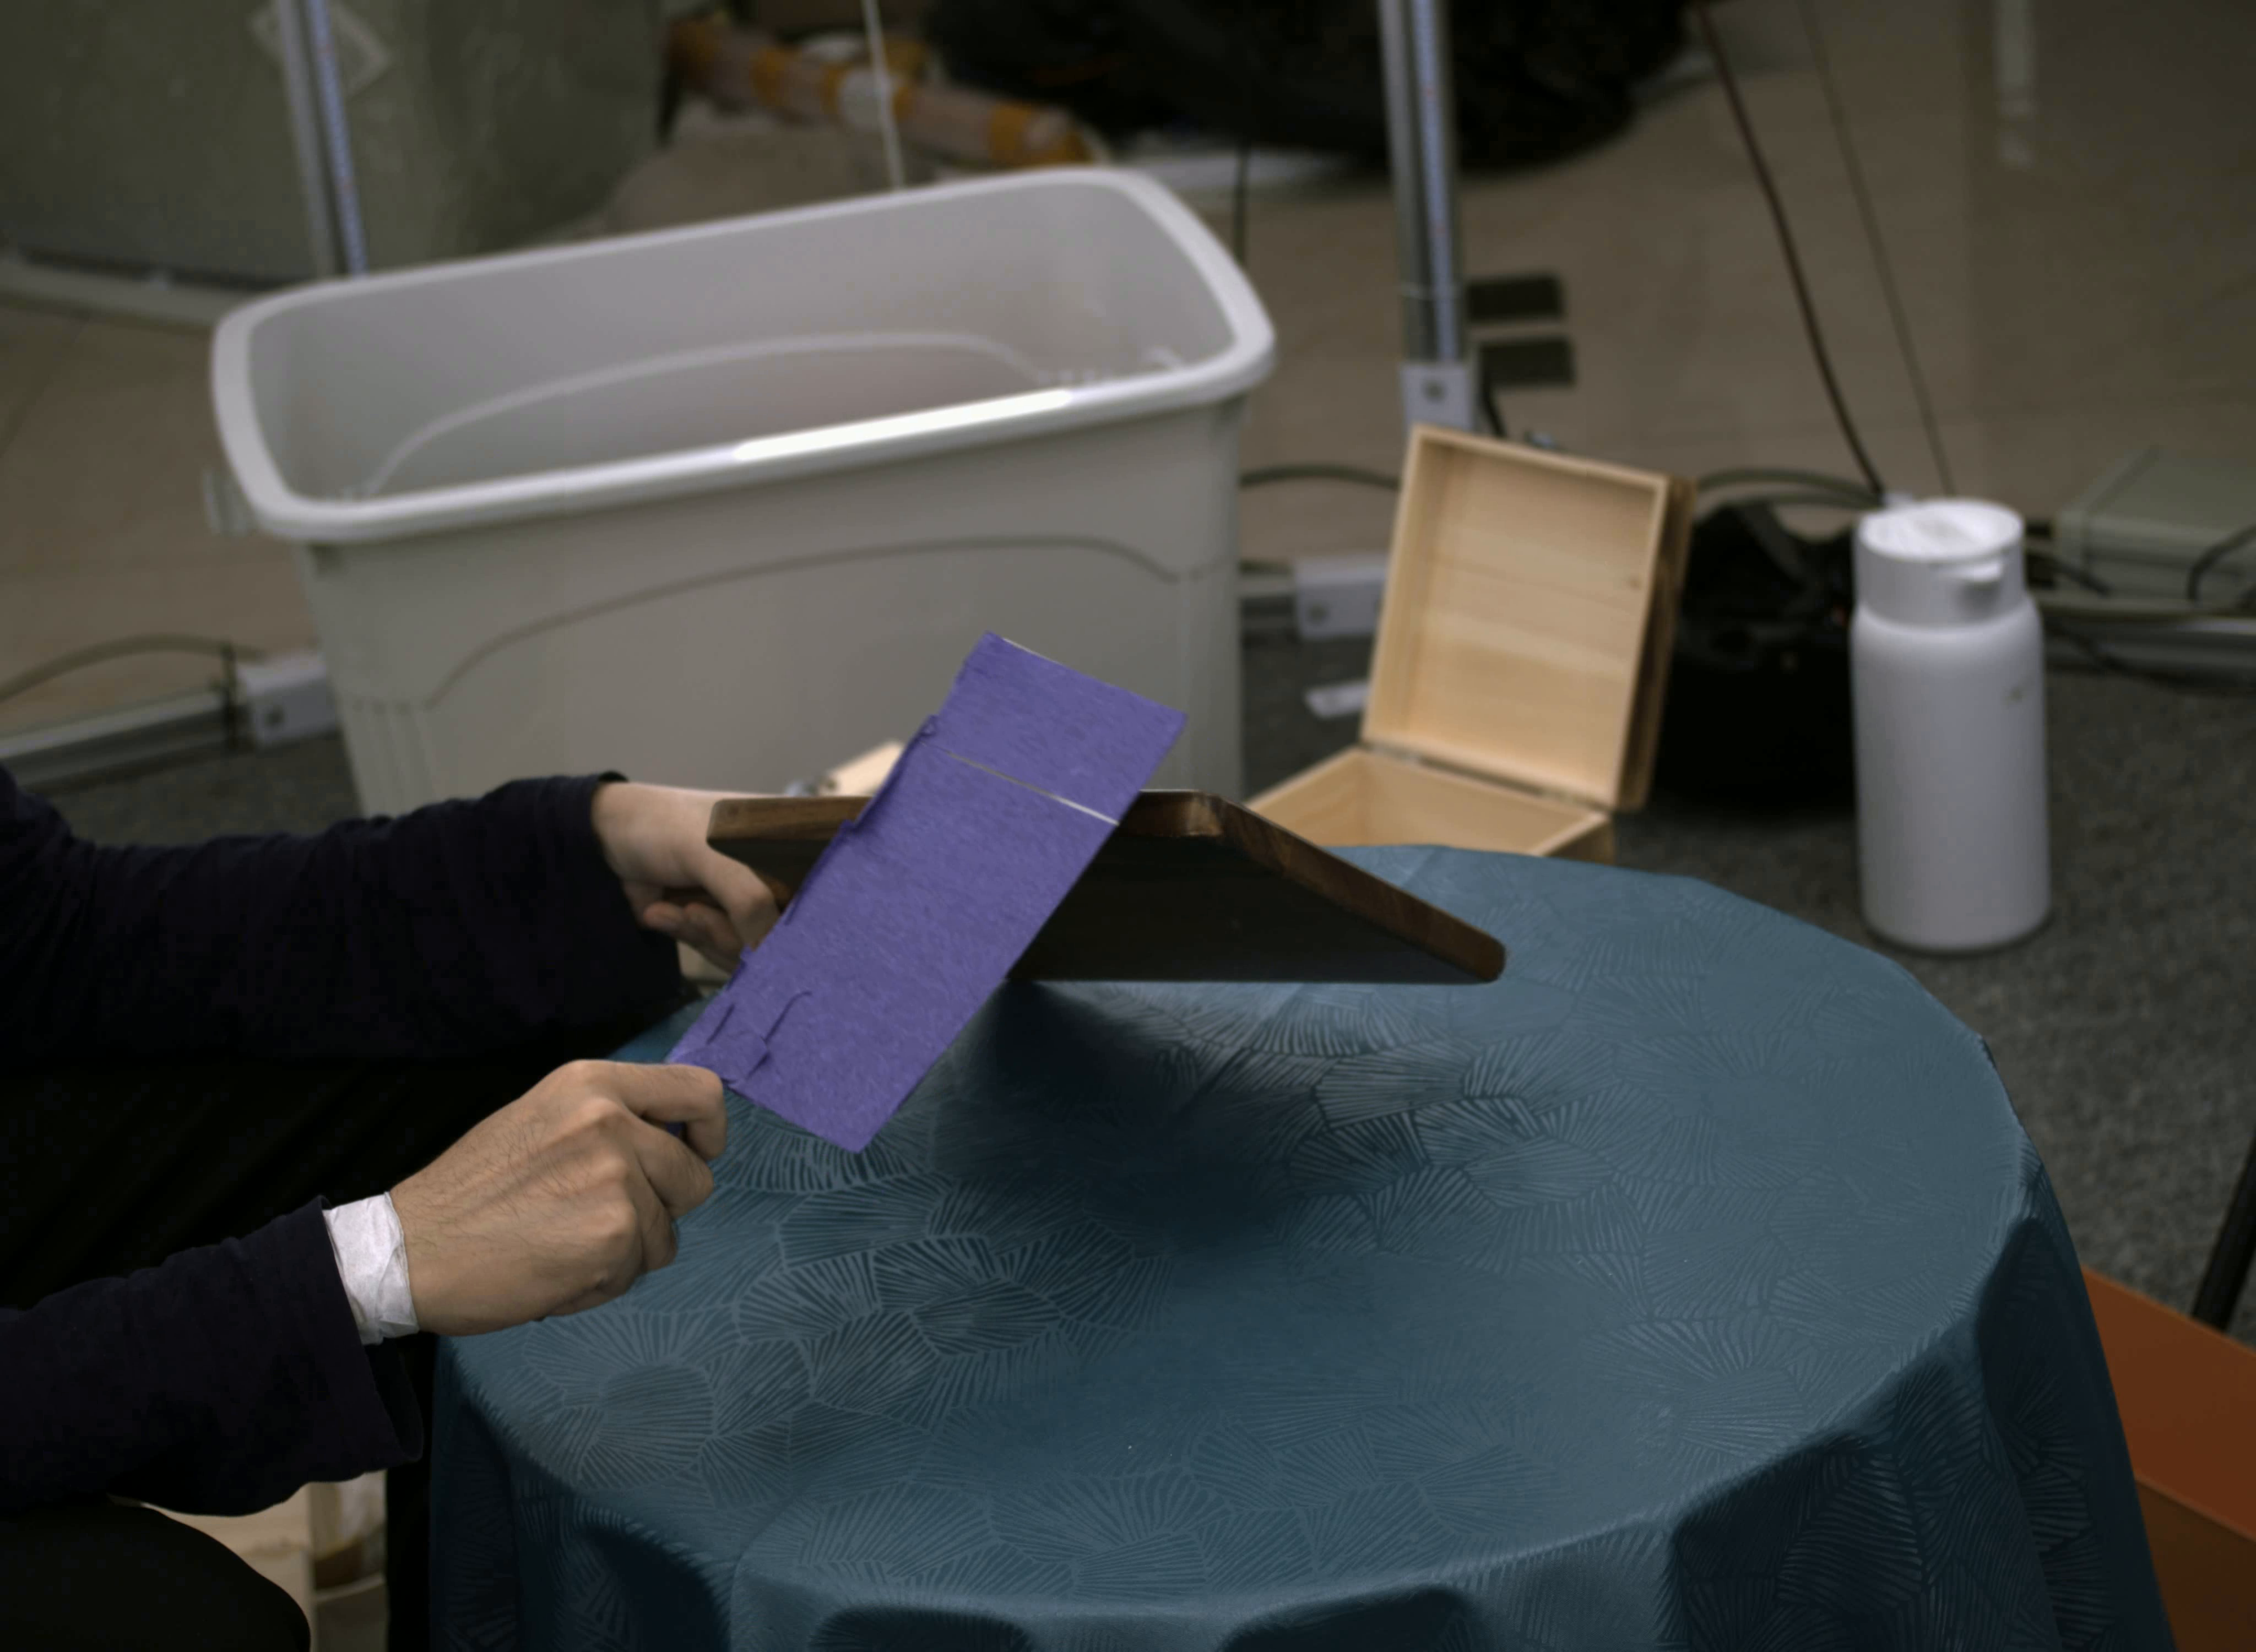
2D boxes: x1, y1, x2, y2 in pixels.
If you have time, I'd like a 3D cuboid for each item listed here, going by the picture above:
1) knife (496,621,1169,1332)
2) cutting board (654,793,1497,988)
[{"bbox_3d":[-0.100,0.058,2.004,0.103,0.033,0.313,25,70,31],"label":"knife"},{"bbox_3d":[-0.049,0.027,2.215,0.351,0.023,0.202,-1,-18,38],"label":"cutting board"}]
